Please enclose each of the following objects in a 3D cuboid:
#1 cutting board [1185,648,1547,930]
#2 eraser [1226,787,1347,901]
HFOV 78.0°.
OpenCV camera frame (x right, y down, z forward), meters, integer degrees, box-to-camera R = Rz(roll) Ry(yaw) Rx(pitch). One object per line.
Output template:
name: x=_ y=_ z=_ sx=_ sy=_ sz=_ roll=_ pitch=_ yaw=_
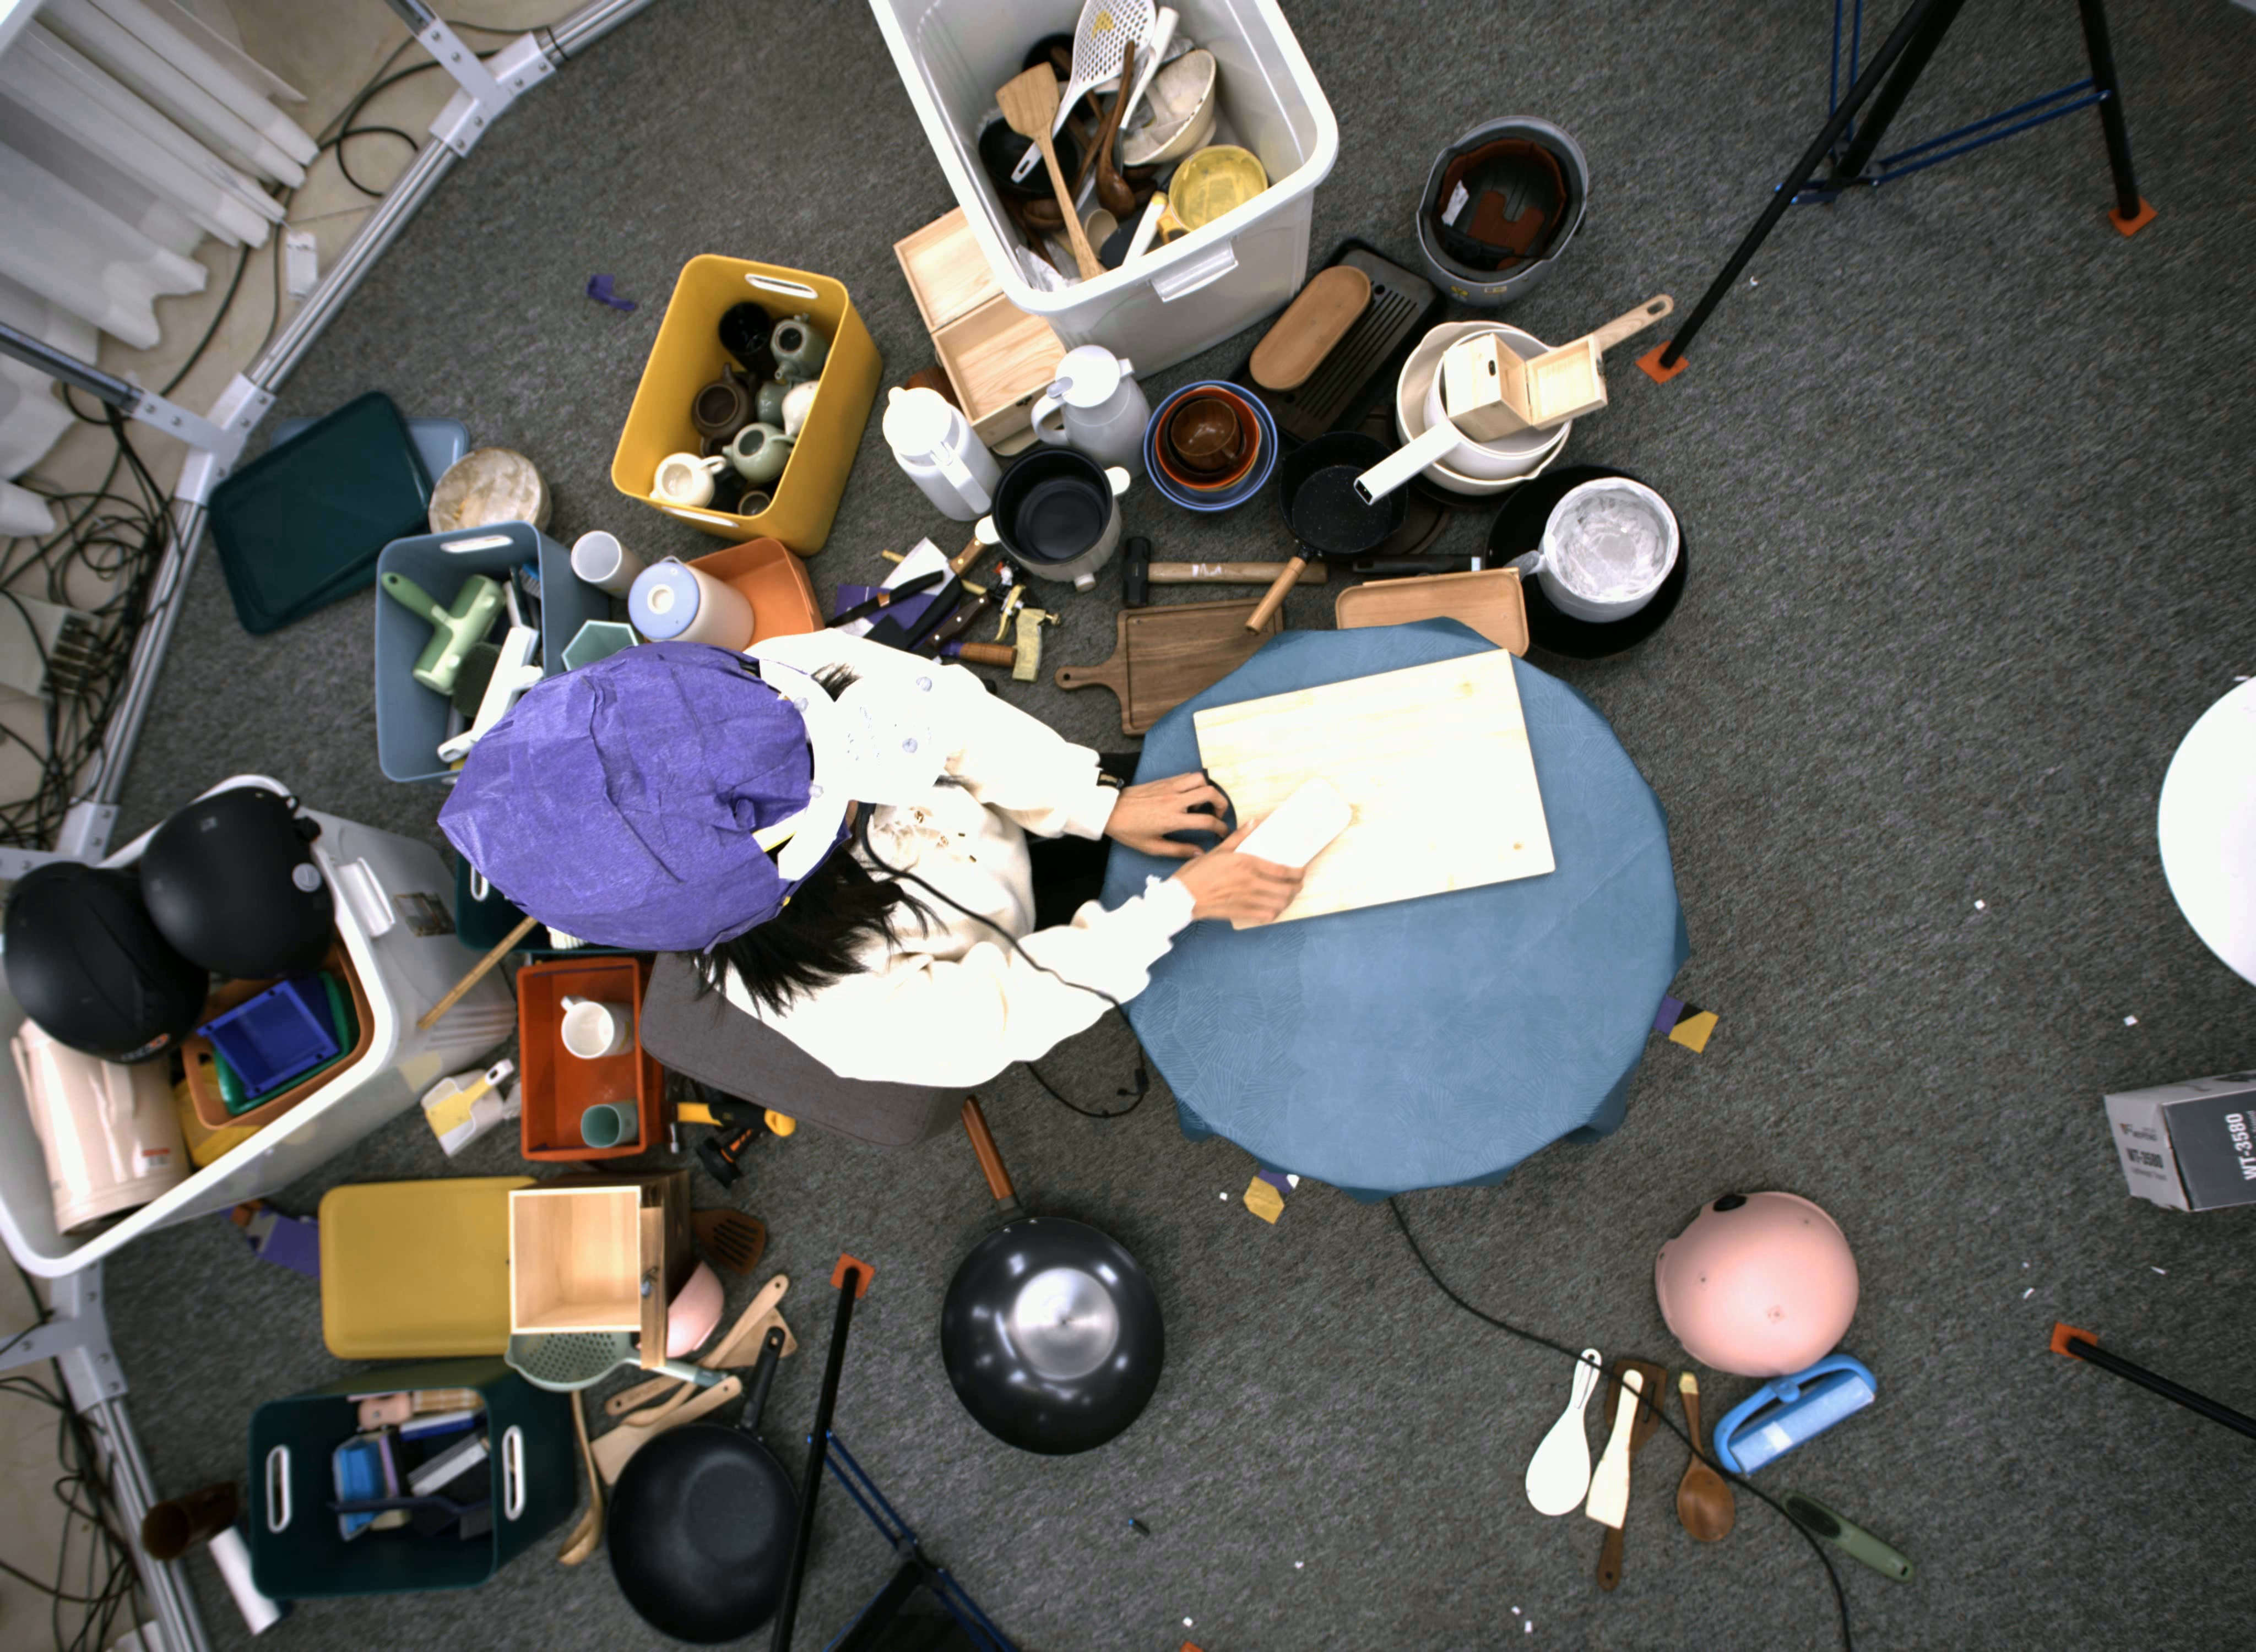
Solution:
cutting board: x=0.251 y=-0.039 z=1.462 sx=0.350 sy=0.023 sz=0.249 roll=-12 pitch=85 yaw=10
eraser: x=0.164 y=0.018 z=1.440 sx=0.131 sy=0.034 sz=0.063 roll=-41 pitch=81 yaw=2
